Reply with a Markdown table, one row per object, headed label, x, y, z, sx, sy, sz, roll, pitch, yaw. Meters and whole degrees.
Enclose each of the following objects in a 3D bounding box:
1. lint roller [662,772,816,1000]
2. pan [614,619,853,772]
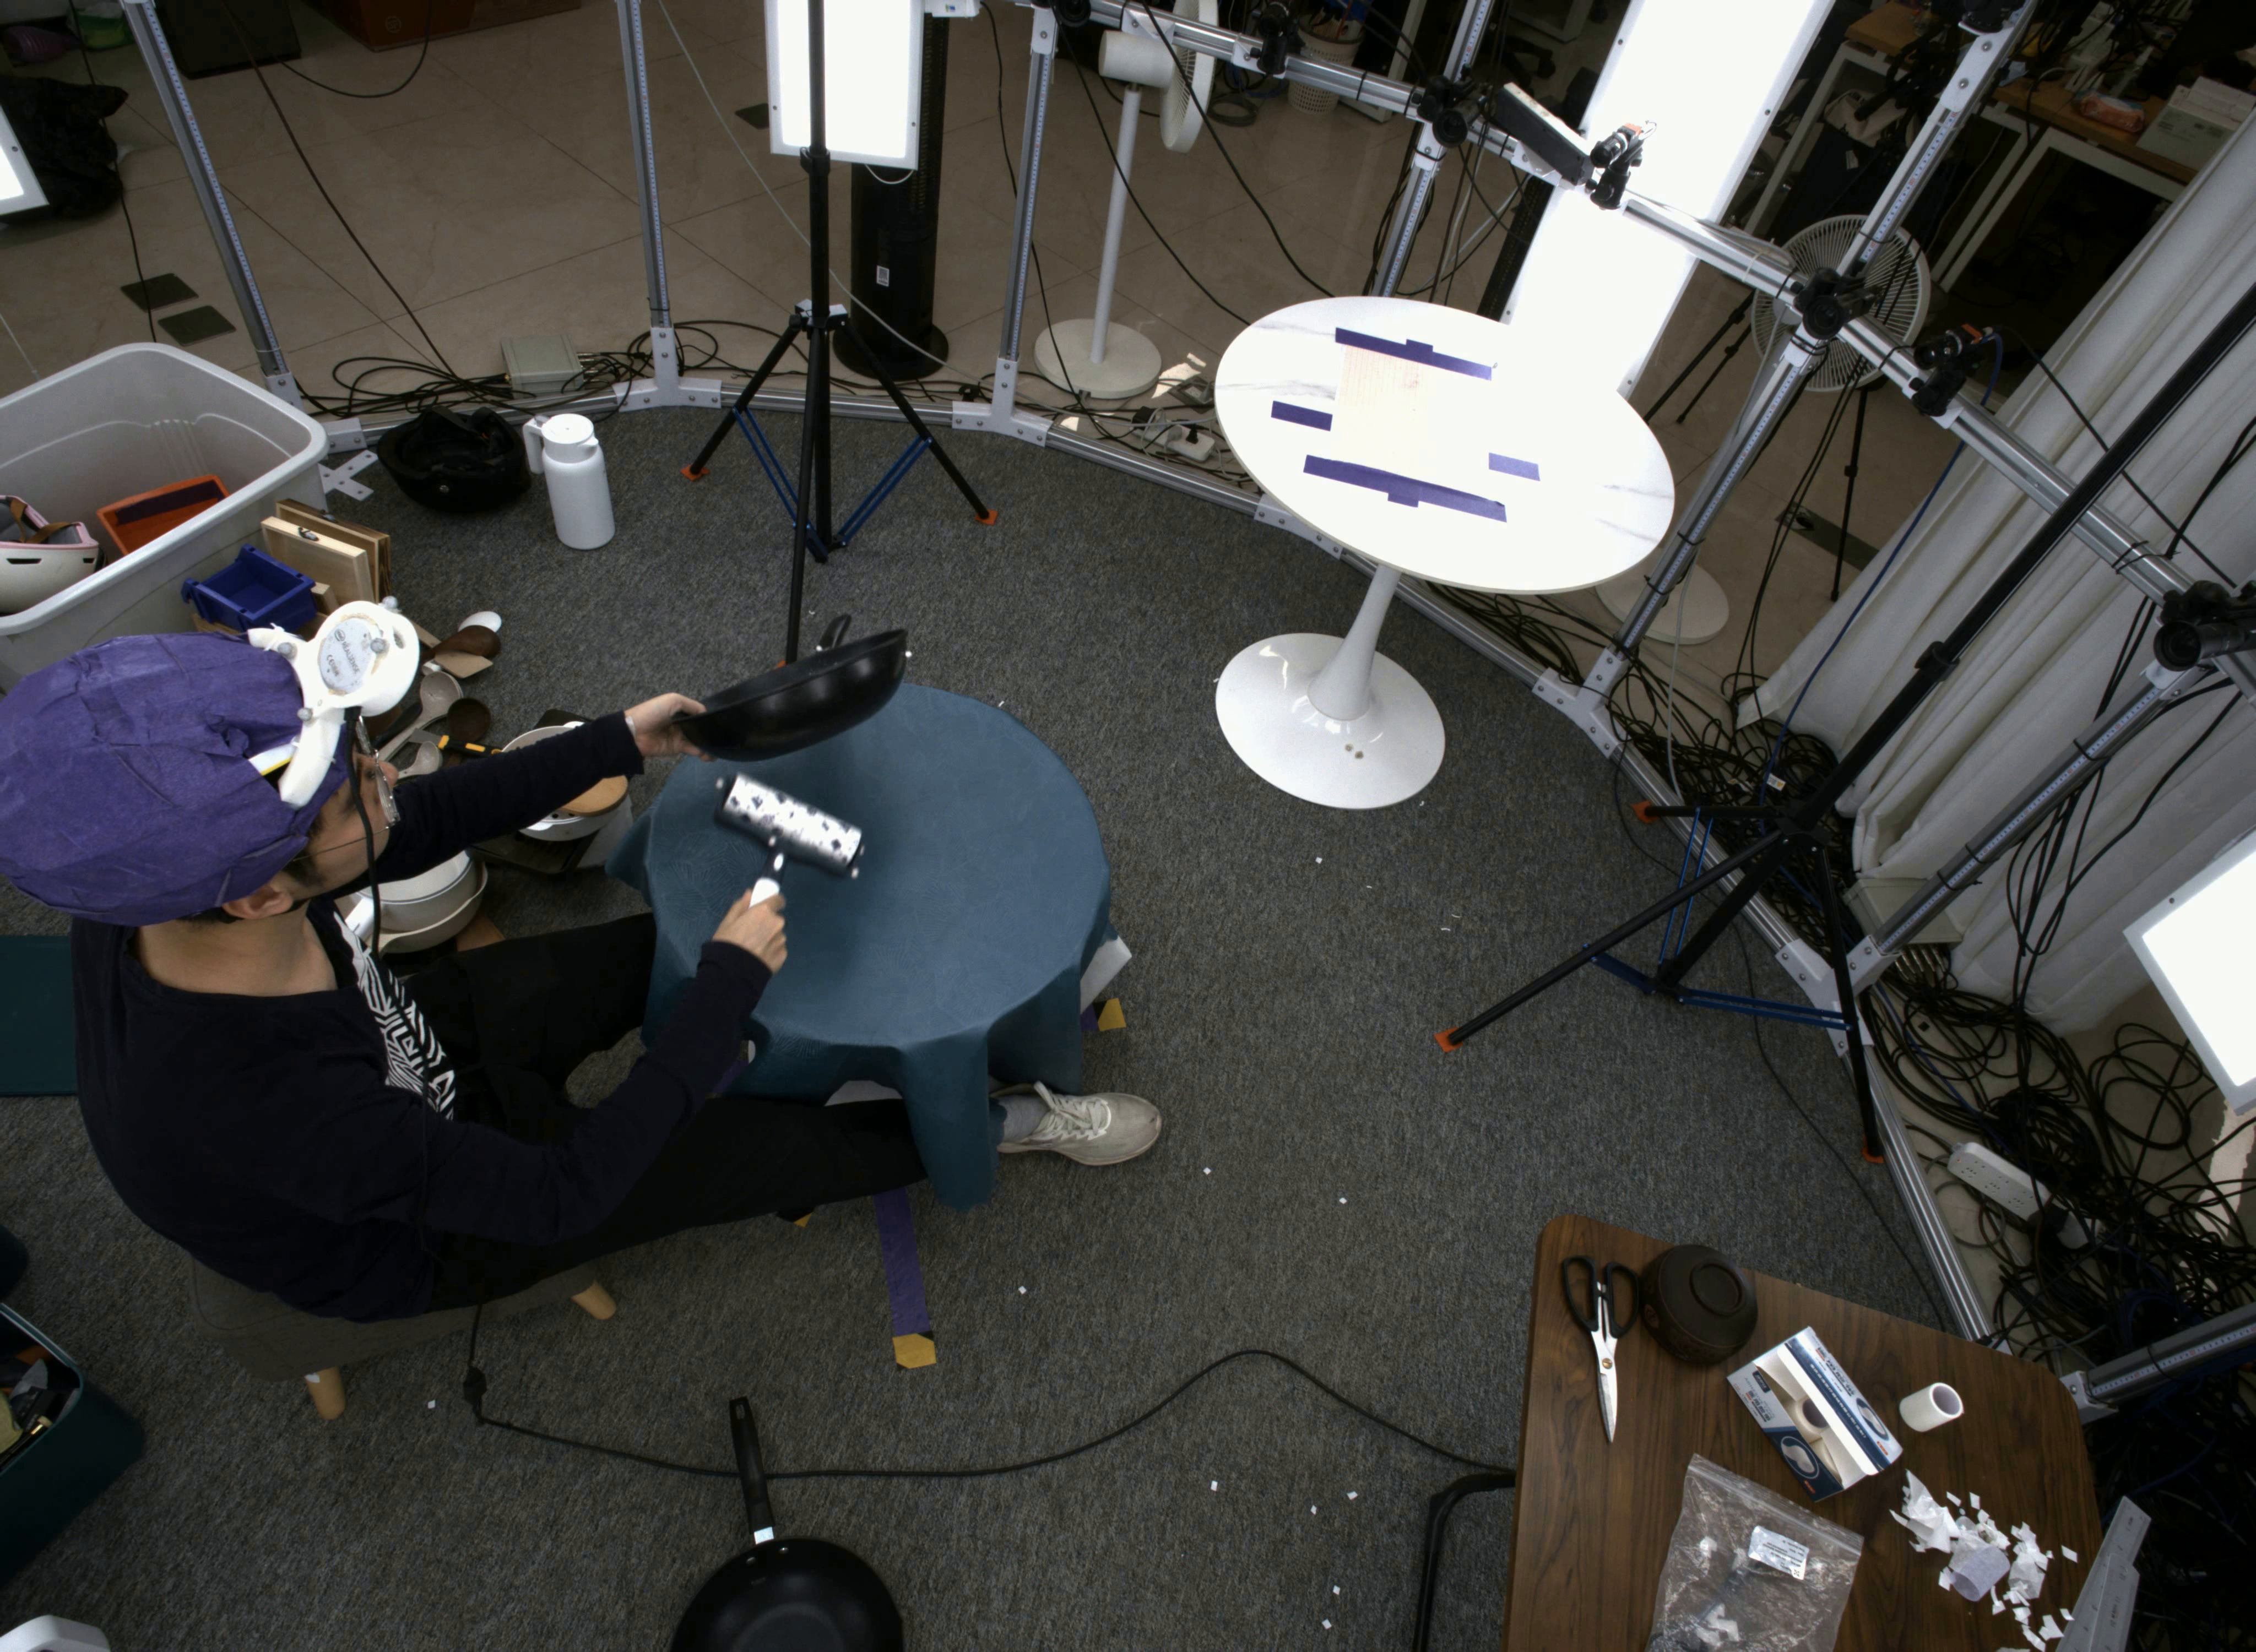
| label | x | y | z | sx | sy | sz | roll | pitch | yaw |
| --- | --- | --- | --- | --- | --- | --- | --- | --- | --- |
| lint roller | -0.456 | 0.075 | 1.448 | 0.181 | 0.050 | 0.244 | 26 | 53 | -30 |
| pan | -0.468 | -0.173 | 1.640 | 0.306 | 0.115 | 0.469 | -19 | 16 | 5 |
